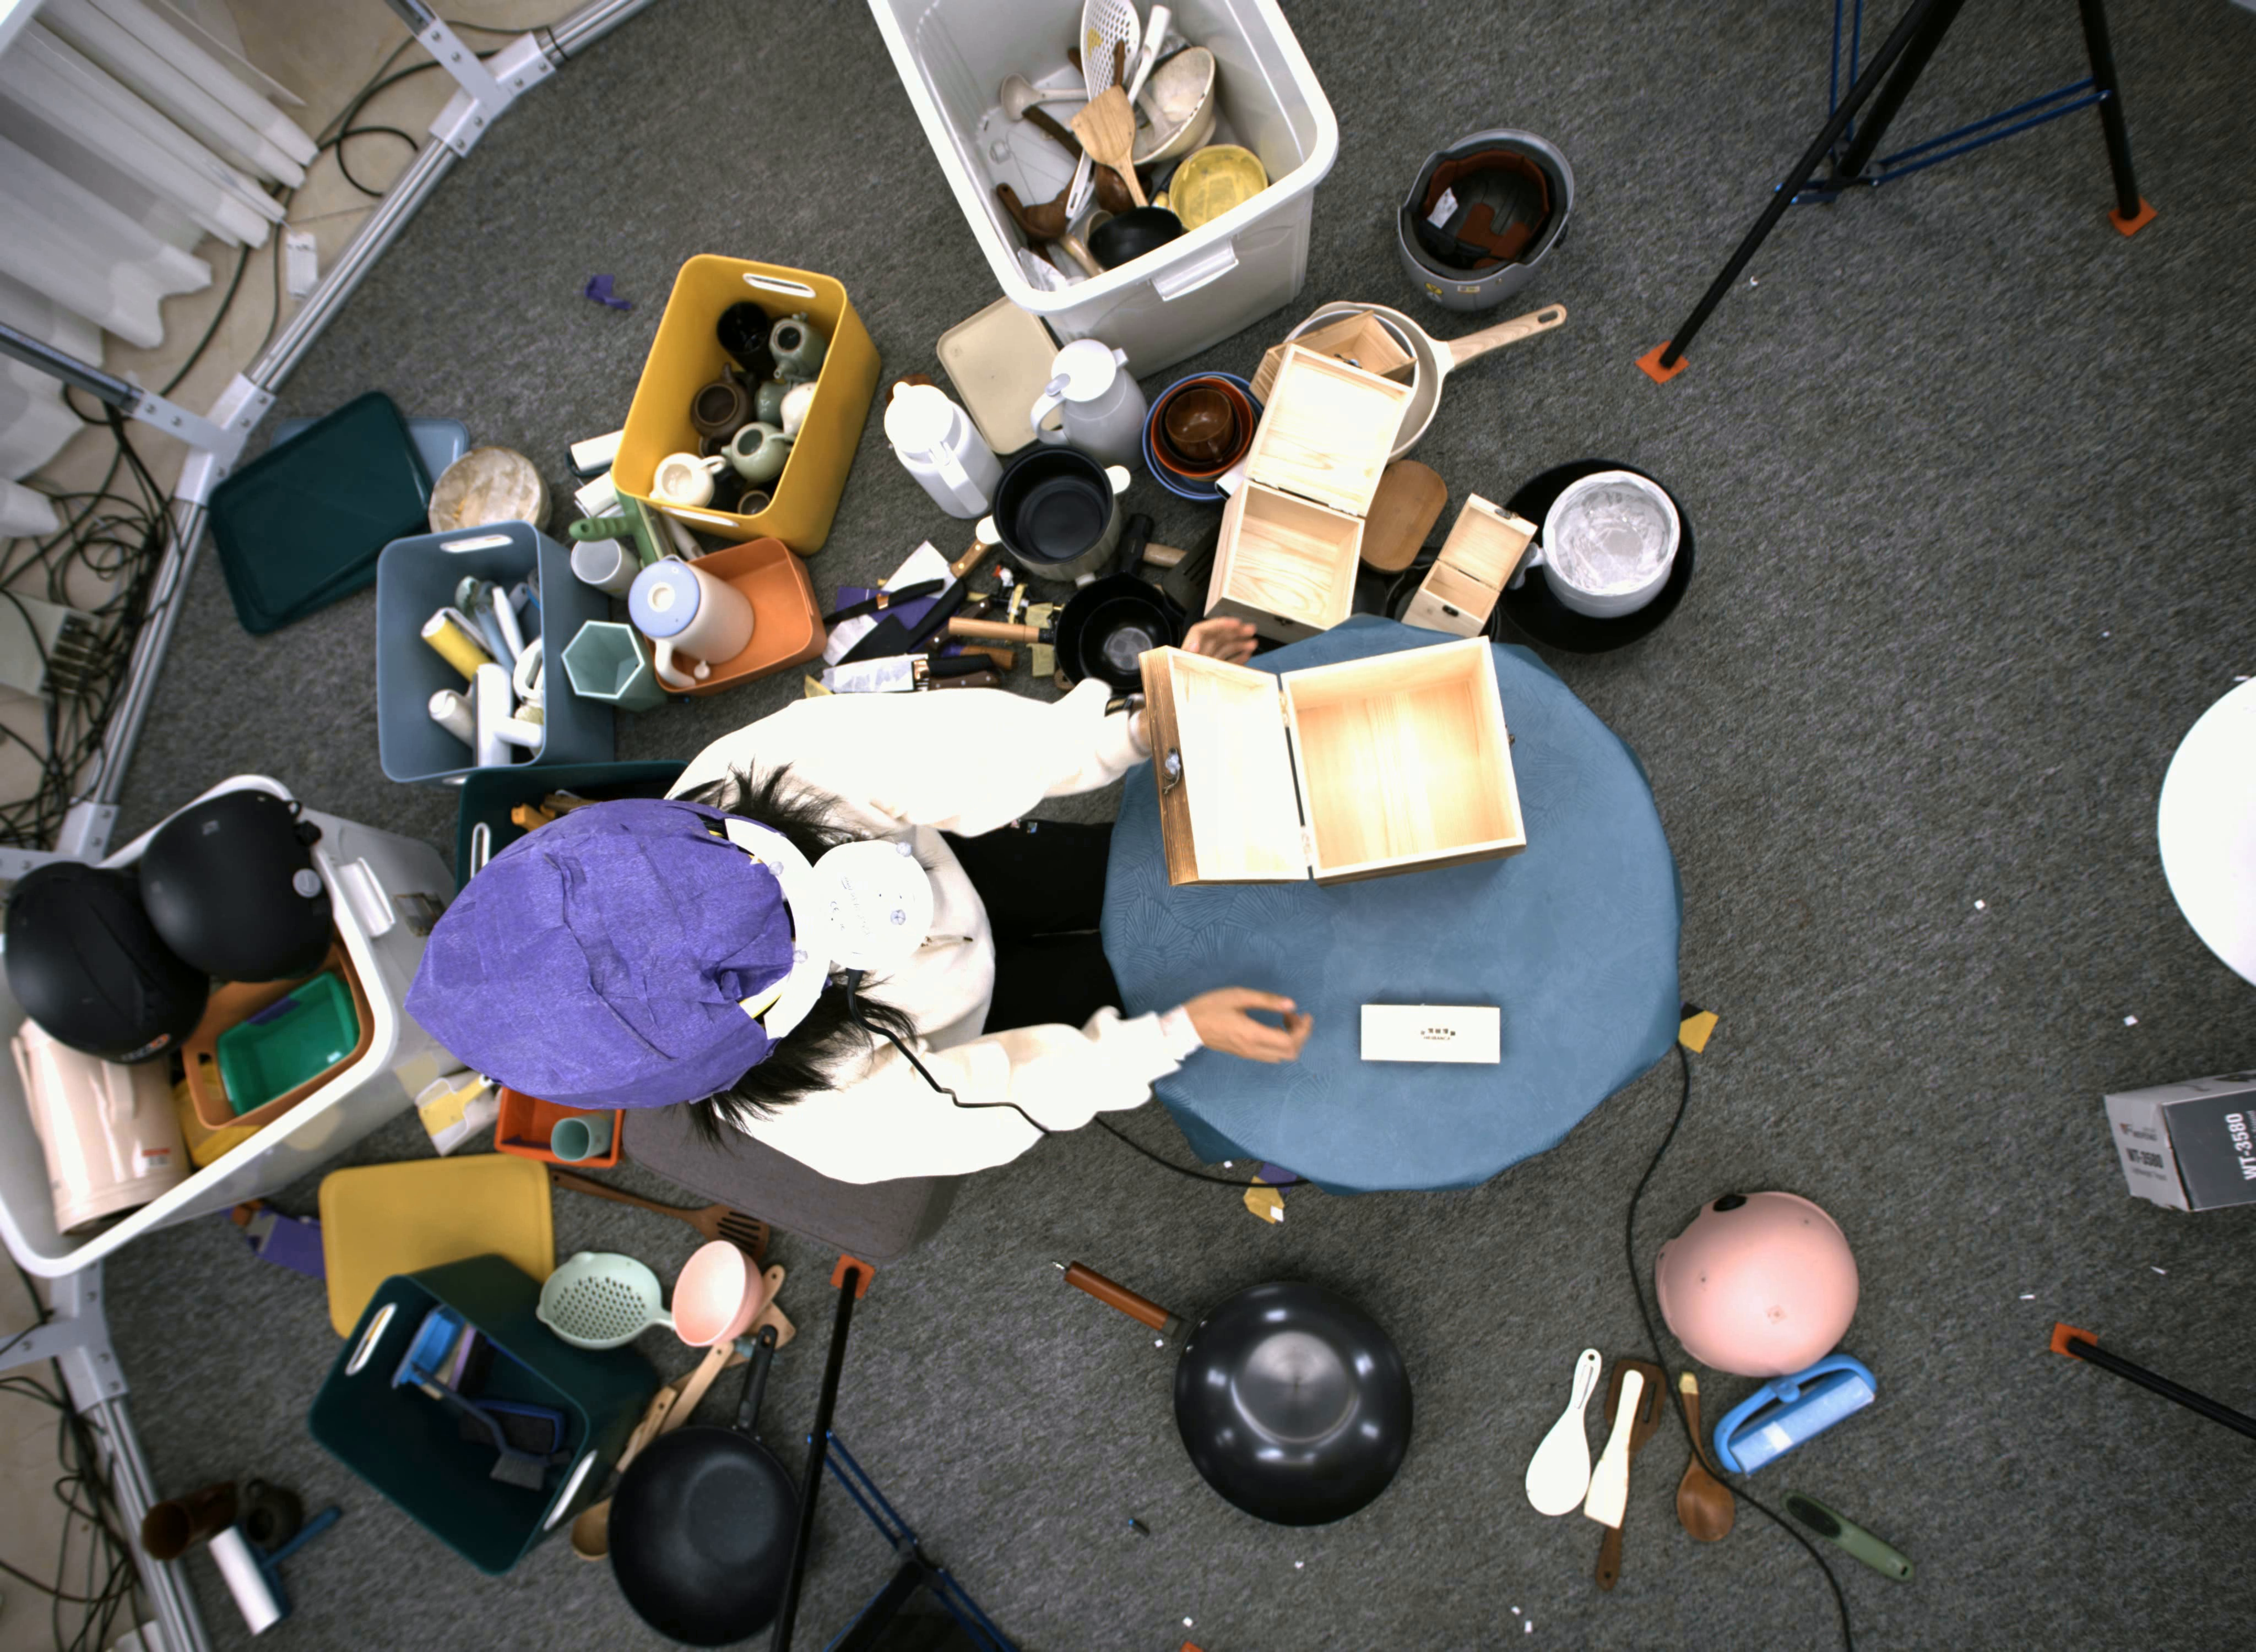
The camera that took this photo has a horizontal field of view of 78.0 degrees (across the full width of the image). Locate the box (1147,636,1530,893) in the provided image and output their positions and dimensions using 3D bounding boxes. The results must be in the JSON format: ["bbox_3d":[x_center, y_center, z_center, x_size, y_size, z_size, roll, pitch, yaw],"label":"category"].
[{"bbox_3d":[0.206,-0.057,1.295,0.324,0.375,0.207,-10,84,9],"label":"box"}]

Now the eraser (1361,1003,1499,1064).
[{"bbox_3d":[0.312,0.212,1.430,0.140,0.029,0.057,1,89,11],"label":"eraser"}]
